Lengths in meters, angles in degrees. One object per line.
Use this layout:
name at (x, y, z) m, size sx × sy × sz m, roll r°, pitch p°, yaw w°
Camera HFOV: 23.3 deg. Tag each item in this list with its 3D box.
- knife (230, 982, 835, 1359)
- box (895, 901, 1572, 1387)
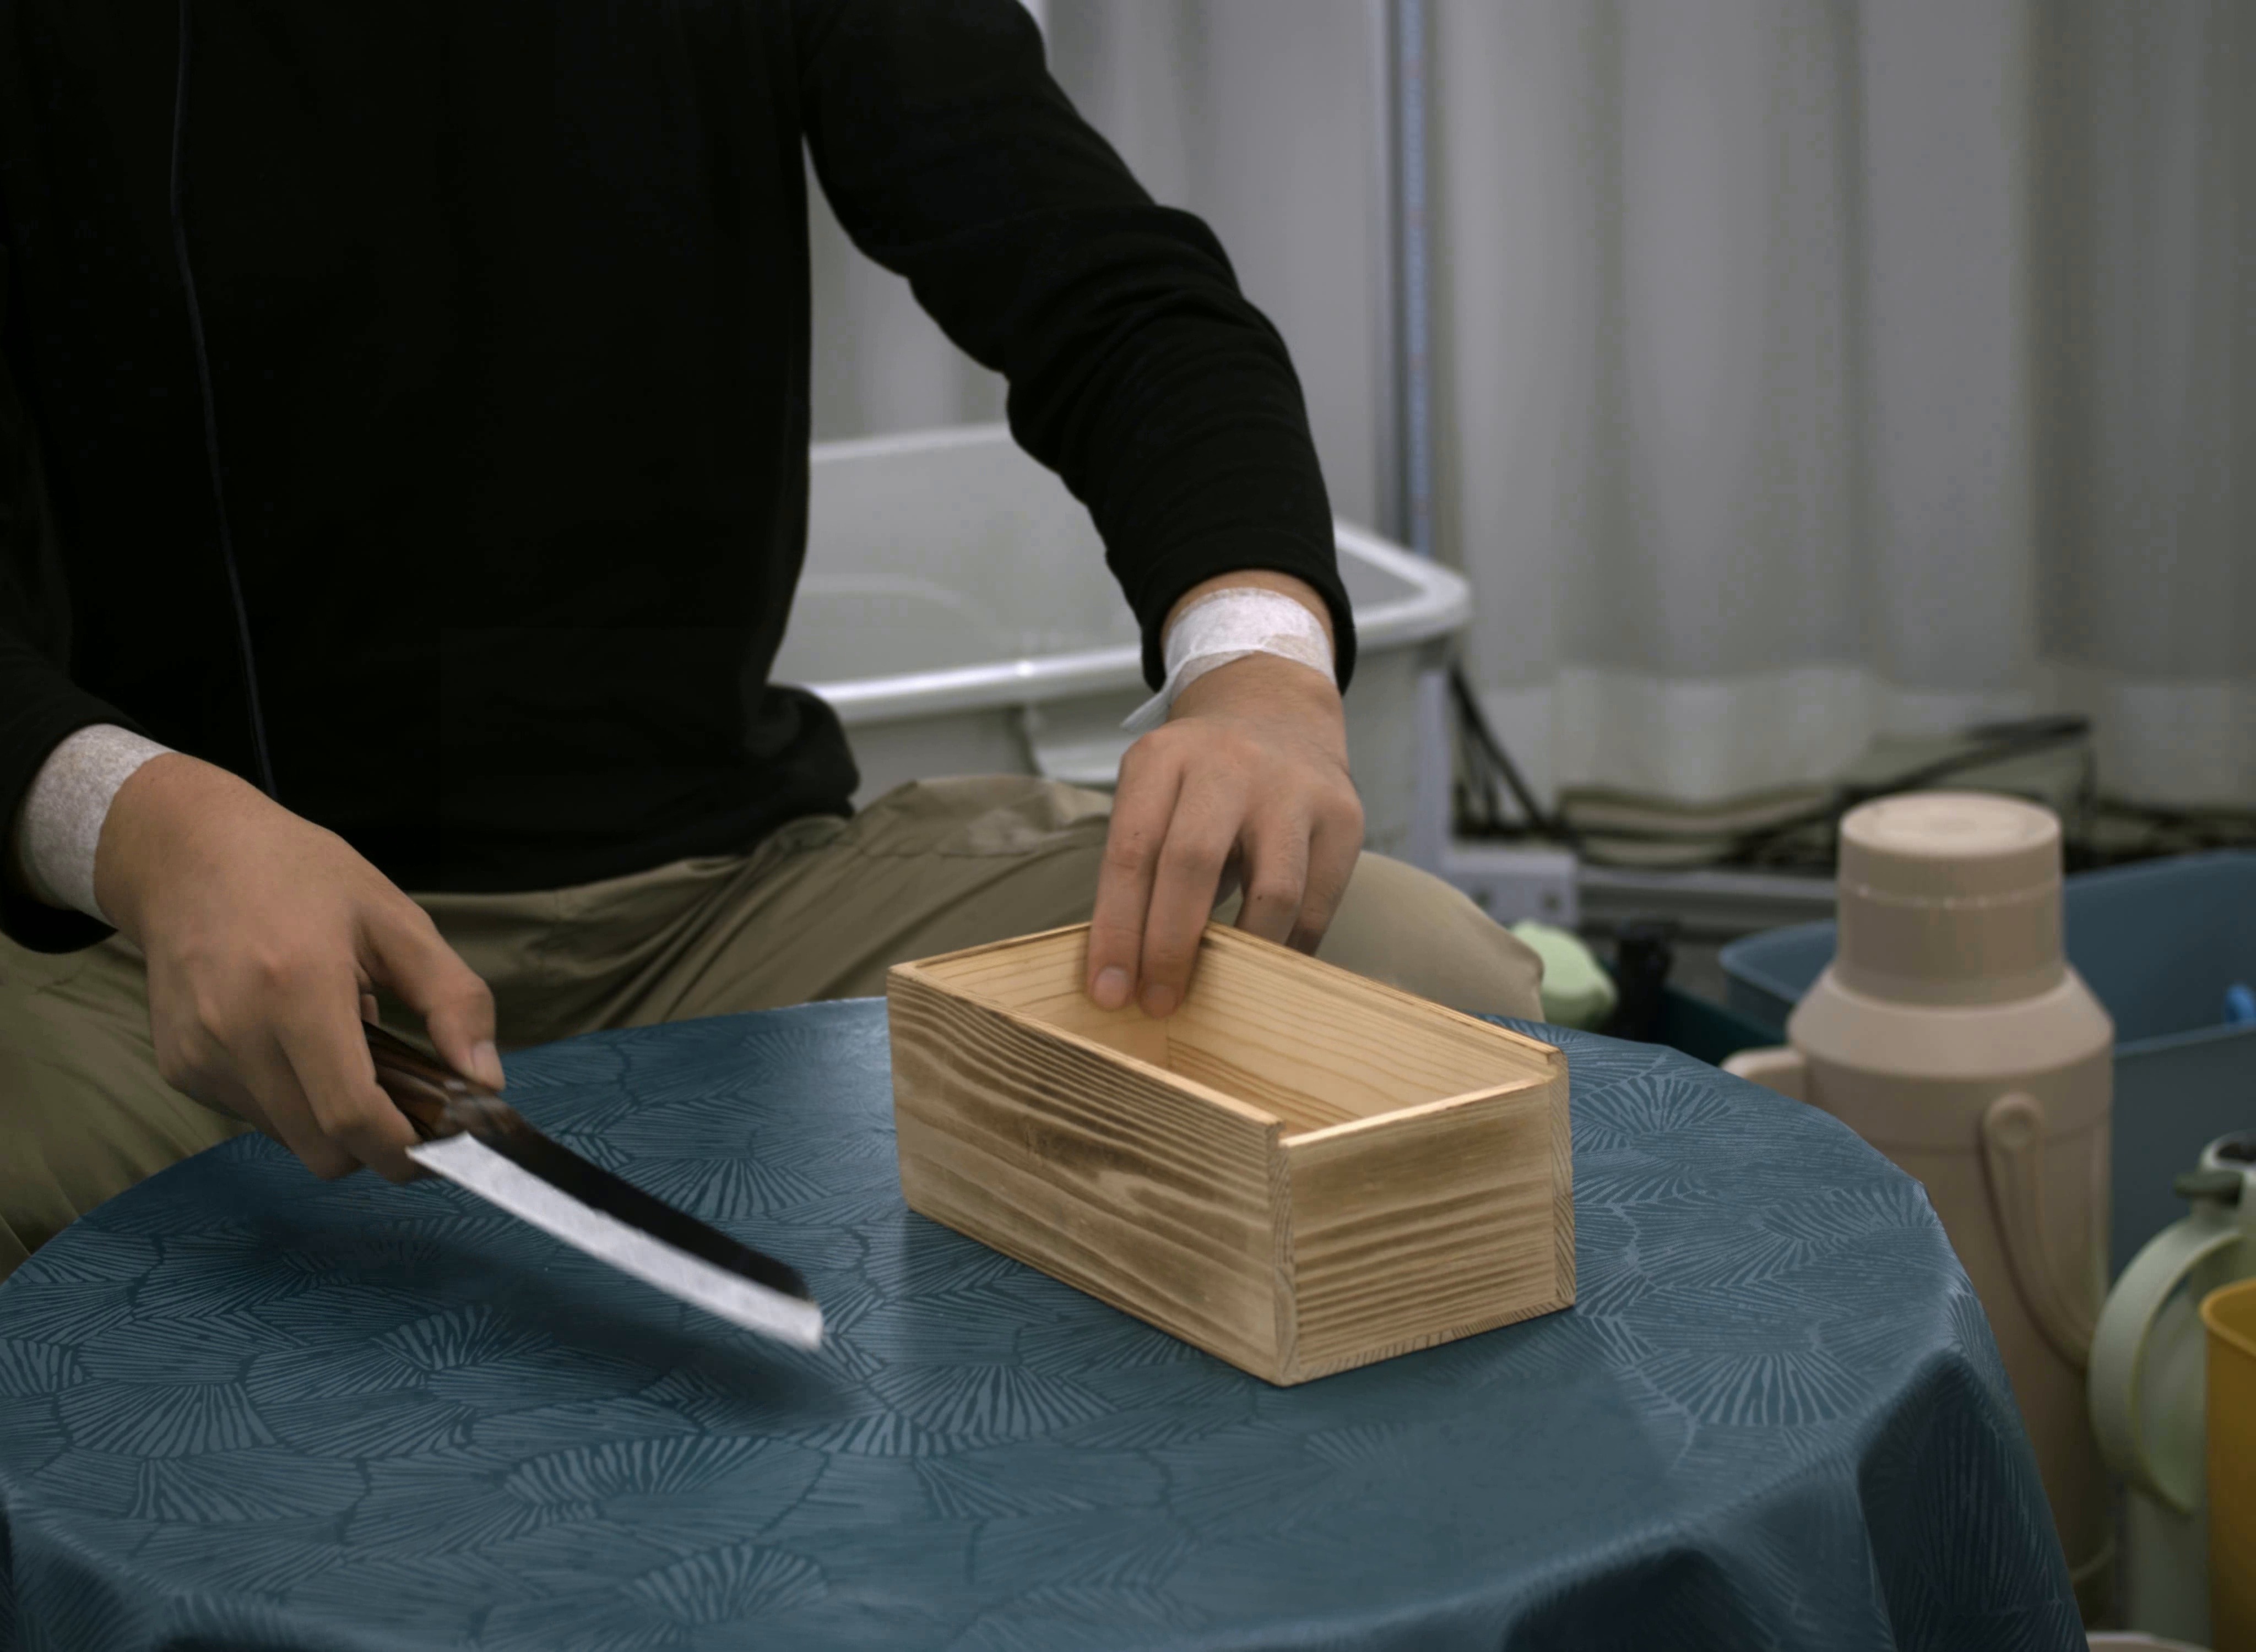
knife at (-0.181, 0.103, 1.630) m, size 0.050 × 0.020 × 0.291 m, roll -12°, pitch 27°, yaw -41°
box at (0.028, 0.091, 1.643) m, size 0.107 × 0.080 × 0.213 m, roll -11°, pitch 17°, yaw -31°
